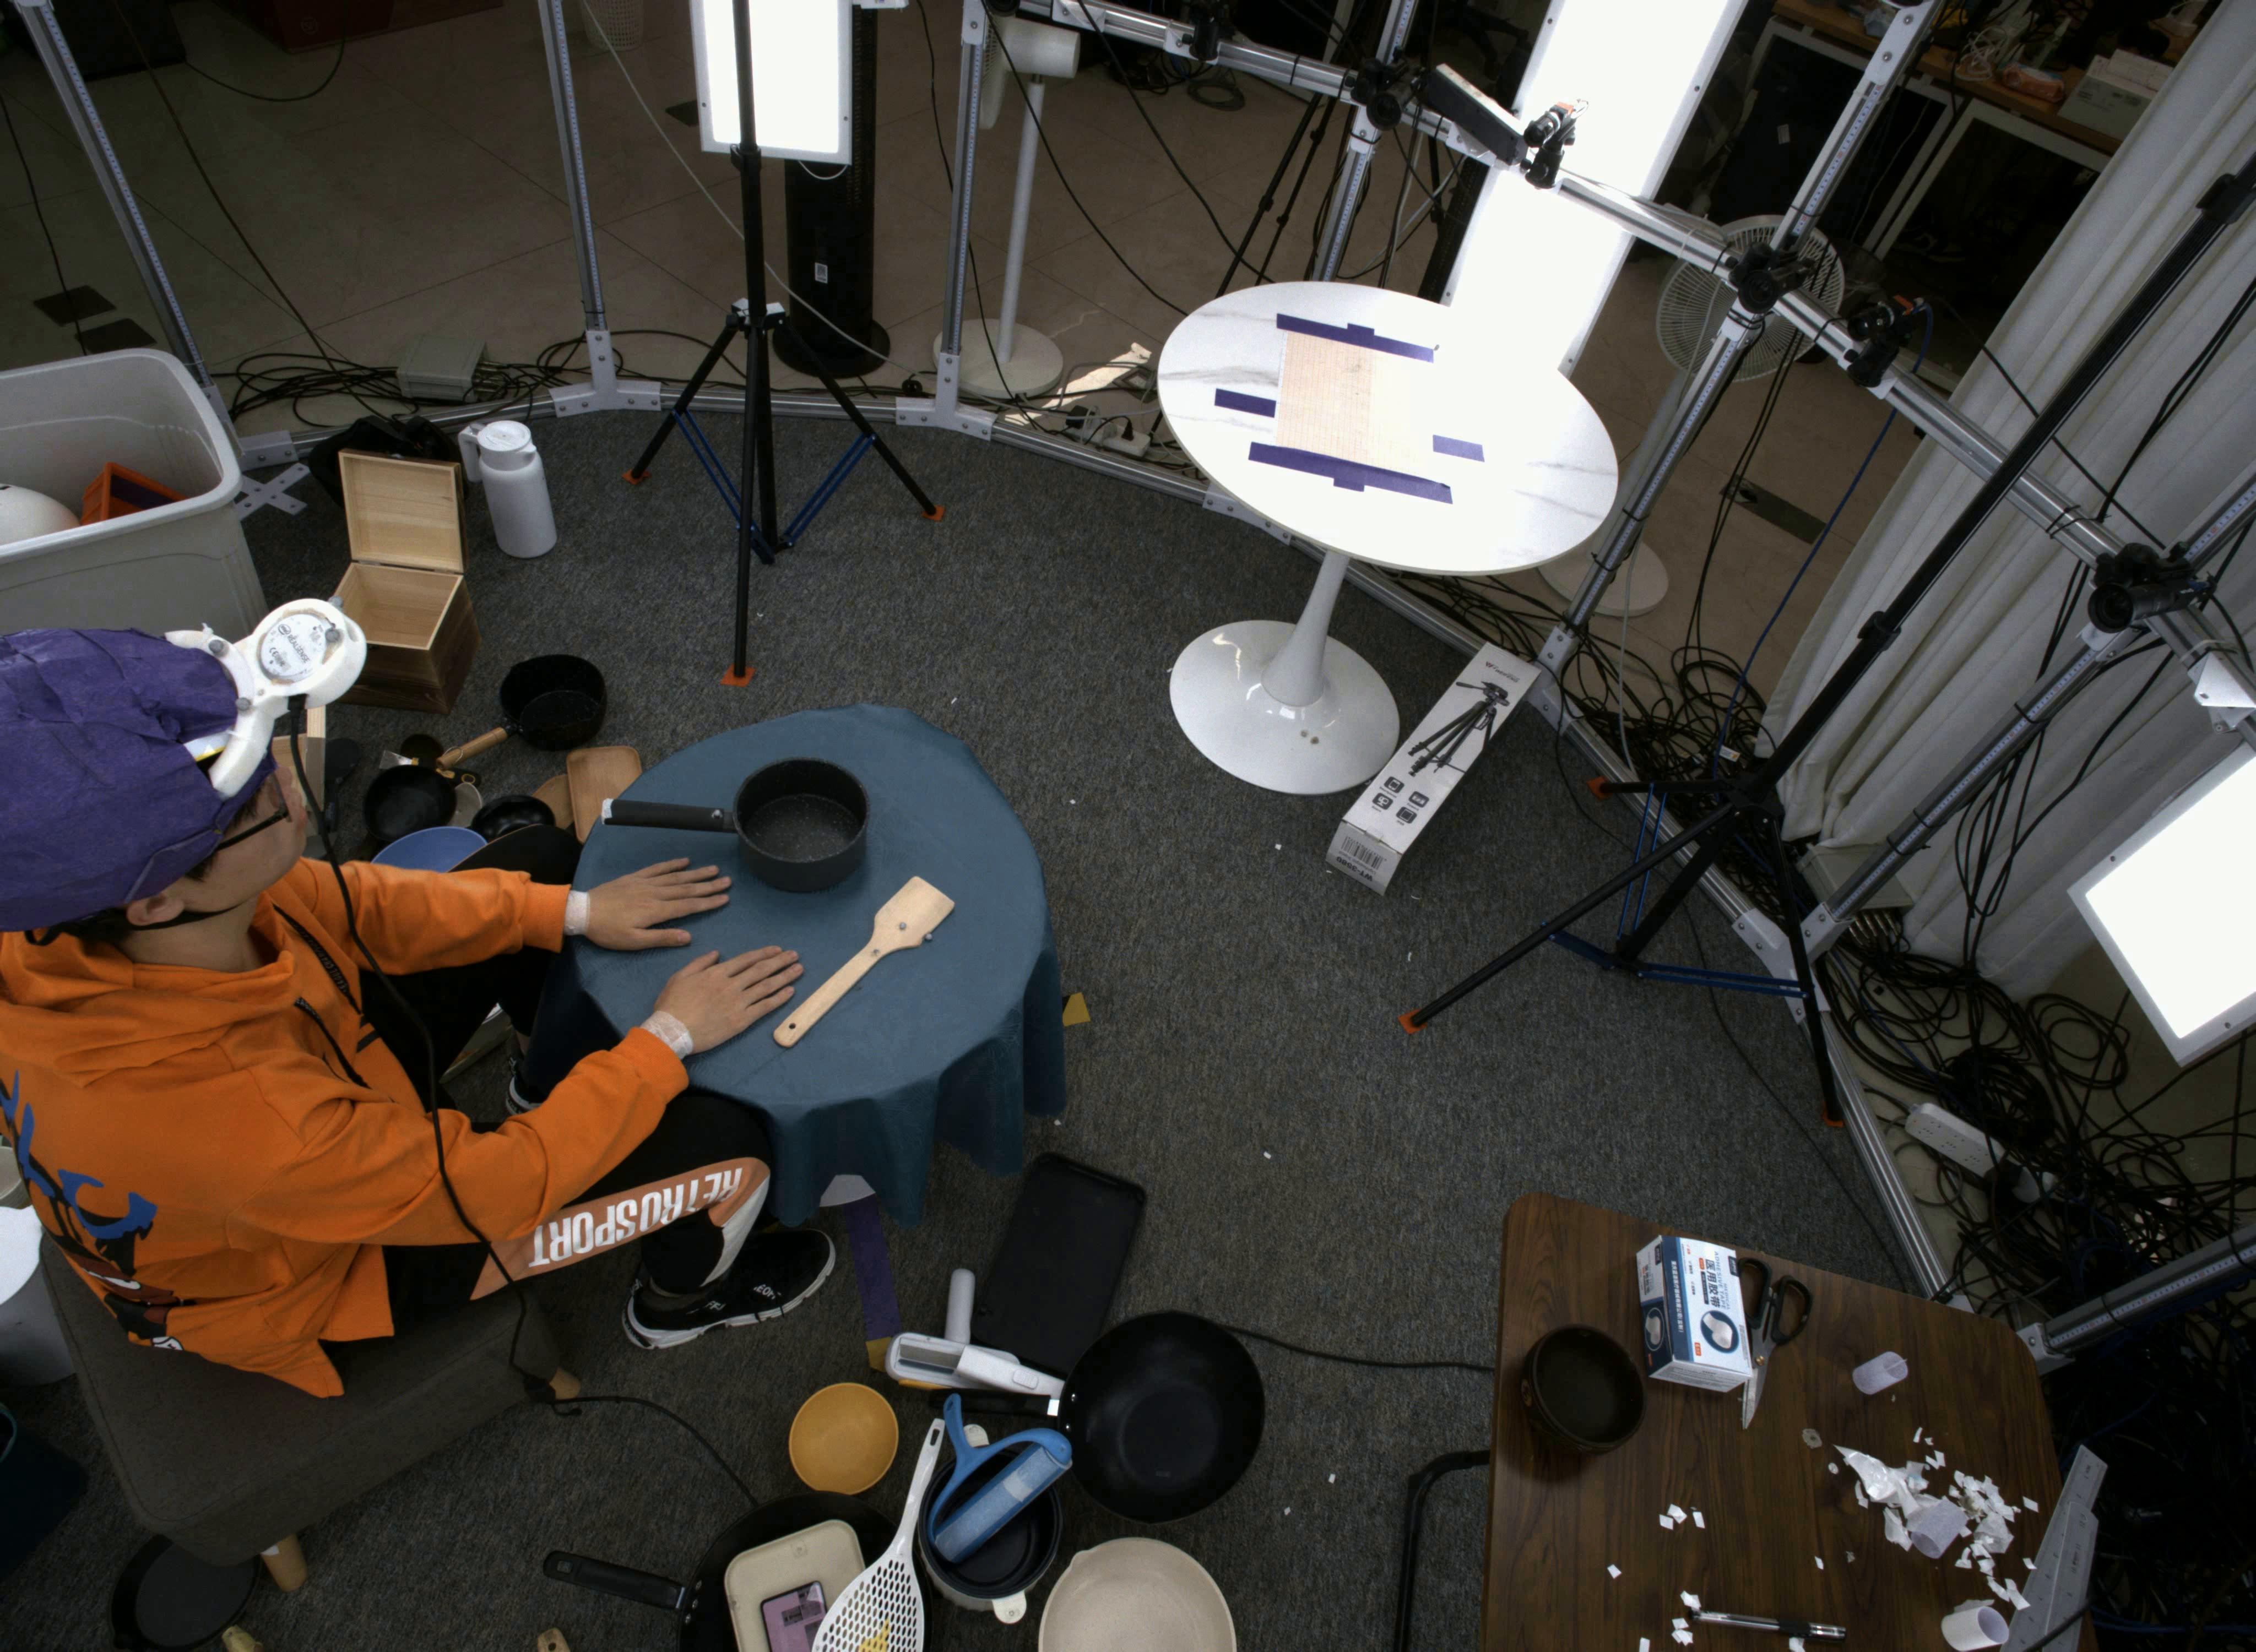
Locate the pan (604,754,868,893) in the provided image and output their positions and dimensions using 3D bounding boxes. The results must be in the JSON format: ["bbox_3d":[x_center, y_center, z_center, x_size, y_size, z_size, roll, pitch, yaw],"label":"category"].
[{"bbox_3d":[-0.498,-0.005,1.643,0.330,0.088,0.168,2,52,-16],"label":"pan"}]

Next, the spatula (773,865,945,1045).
[{"bbox_3d":[-0.334,0.157,1.602,0.070,0.011,0.292,26,53,17],"label":"spatula"}]
